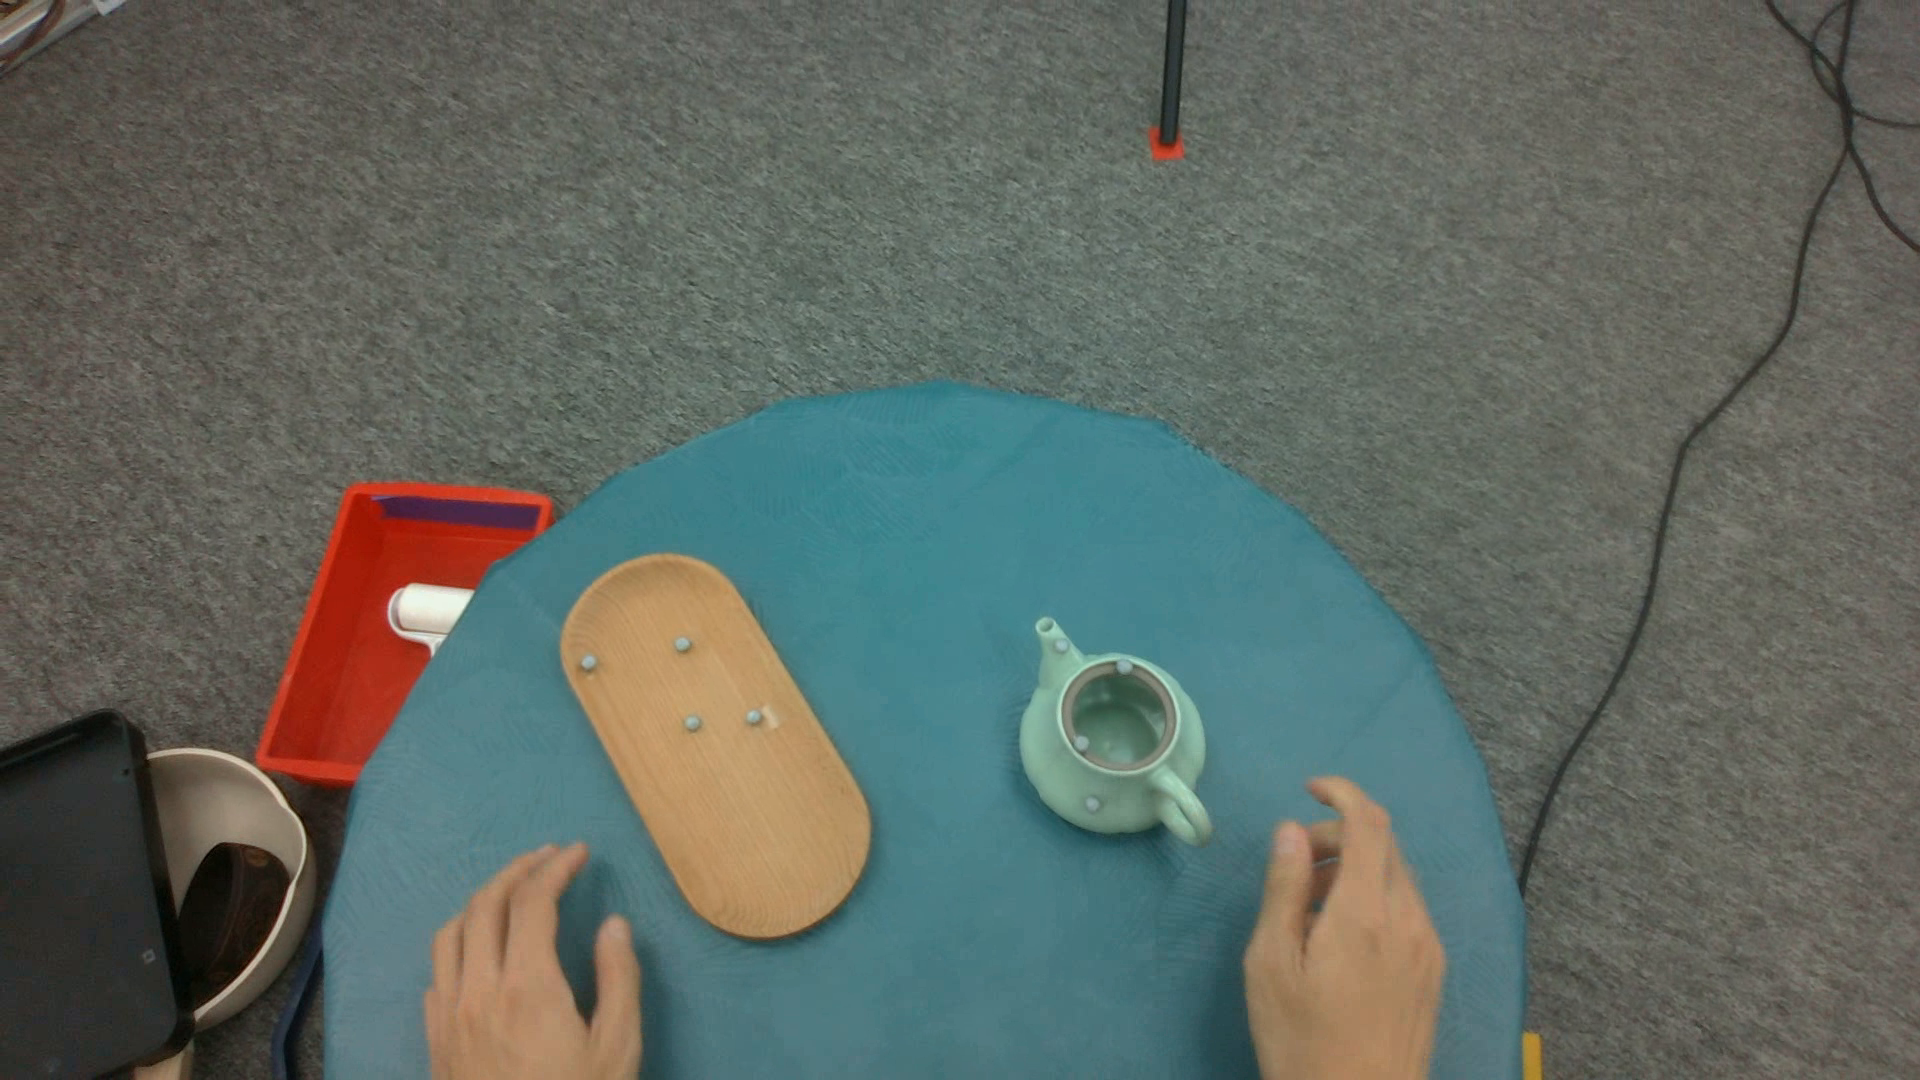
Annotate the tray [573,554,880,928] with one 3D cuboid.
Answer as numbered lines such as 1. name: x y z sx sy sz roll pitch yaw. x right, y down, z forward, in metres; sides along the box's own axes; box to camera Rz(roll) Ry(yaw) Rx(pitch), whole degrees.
1. tray: -0.128 0.103 0.743 0.102 0.020 0.231 -30 66 -14

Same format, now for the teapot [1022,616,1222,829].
1. teapot: 0.084 0.099 0.715 0.096 0.061 0.137 -35 66 -18
